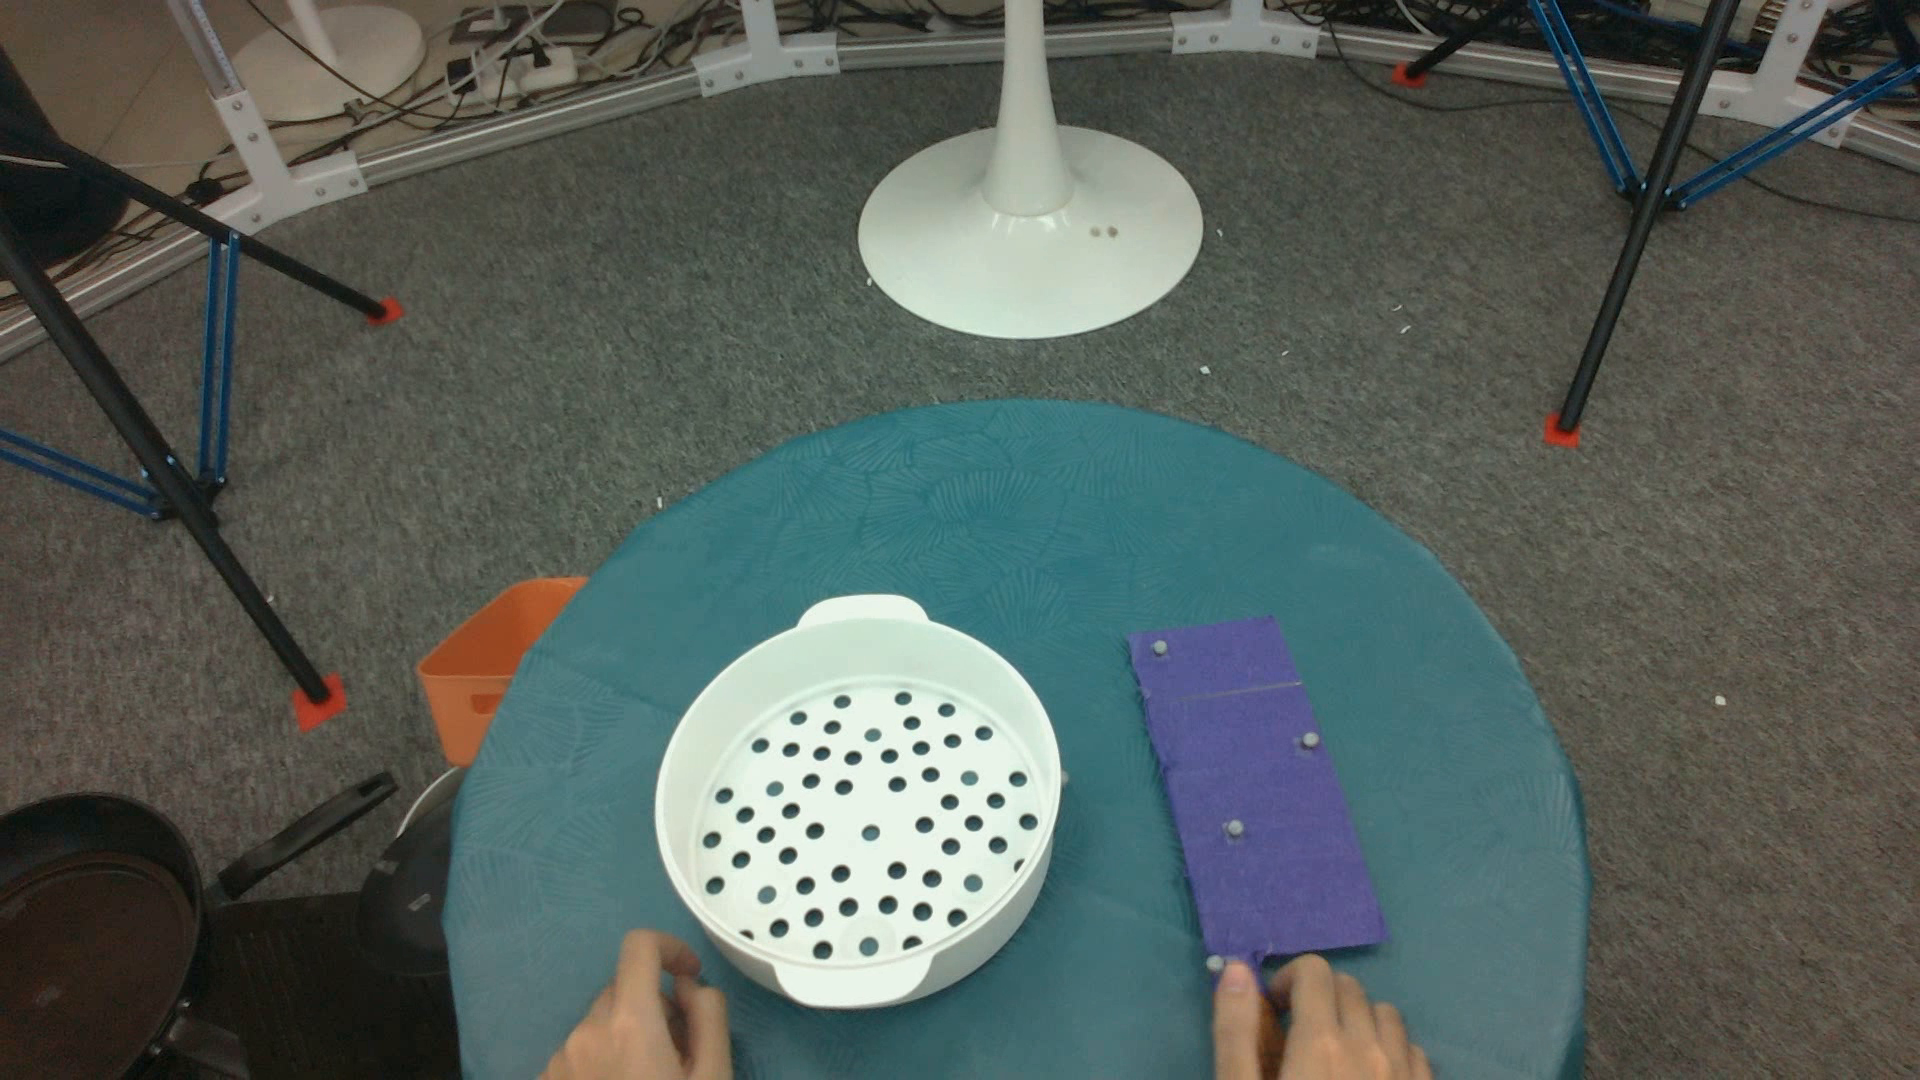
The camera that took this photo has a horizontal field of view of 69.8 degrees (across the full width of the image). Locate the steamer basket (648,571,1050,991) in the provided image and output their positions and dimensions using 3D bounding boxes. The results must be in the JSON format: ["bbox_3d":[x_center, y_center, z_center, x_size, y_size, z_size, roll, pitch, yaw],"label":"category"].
[{"bbox_3d":[-0.054,0.126,0.709,0.202,0.069,0.231,-4,53,1],"label":"steamer basket"}]

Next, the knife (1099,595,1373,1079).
[{"bbox_3d":[0.153,0.150,0.702,0.104,0.032,0.316,-8,49,-3],"label":"knife"}]
